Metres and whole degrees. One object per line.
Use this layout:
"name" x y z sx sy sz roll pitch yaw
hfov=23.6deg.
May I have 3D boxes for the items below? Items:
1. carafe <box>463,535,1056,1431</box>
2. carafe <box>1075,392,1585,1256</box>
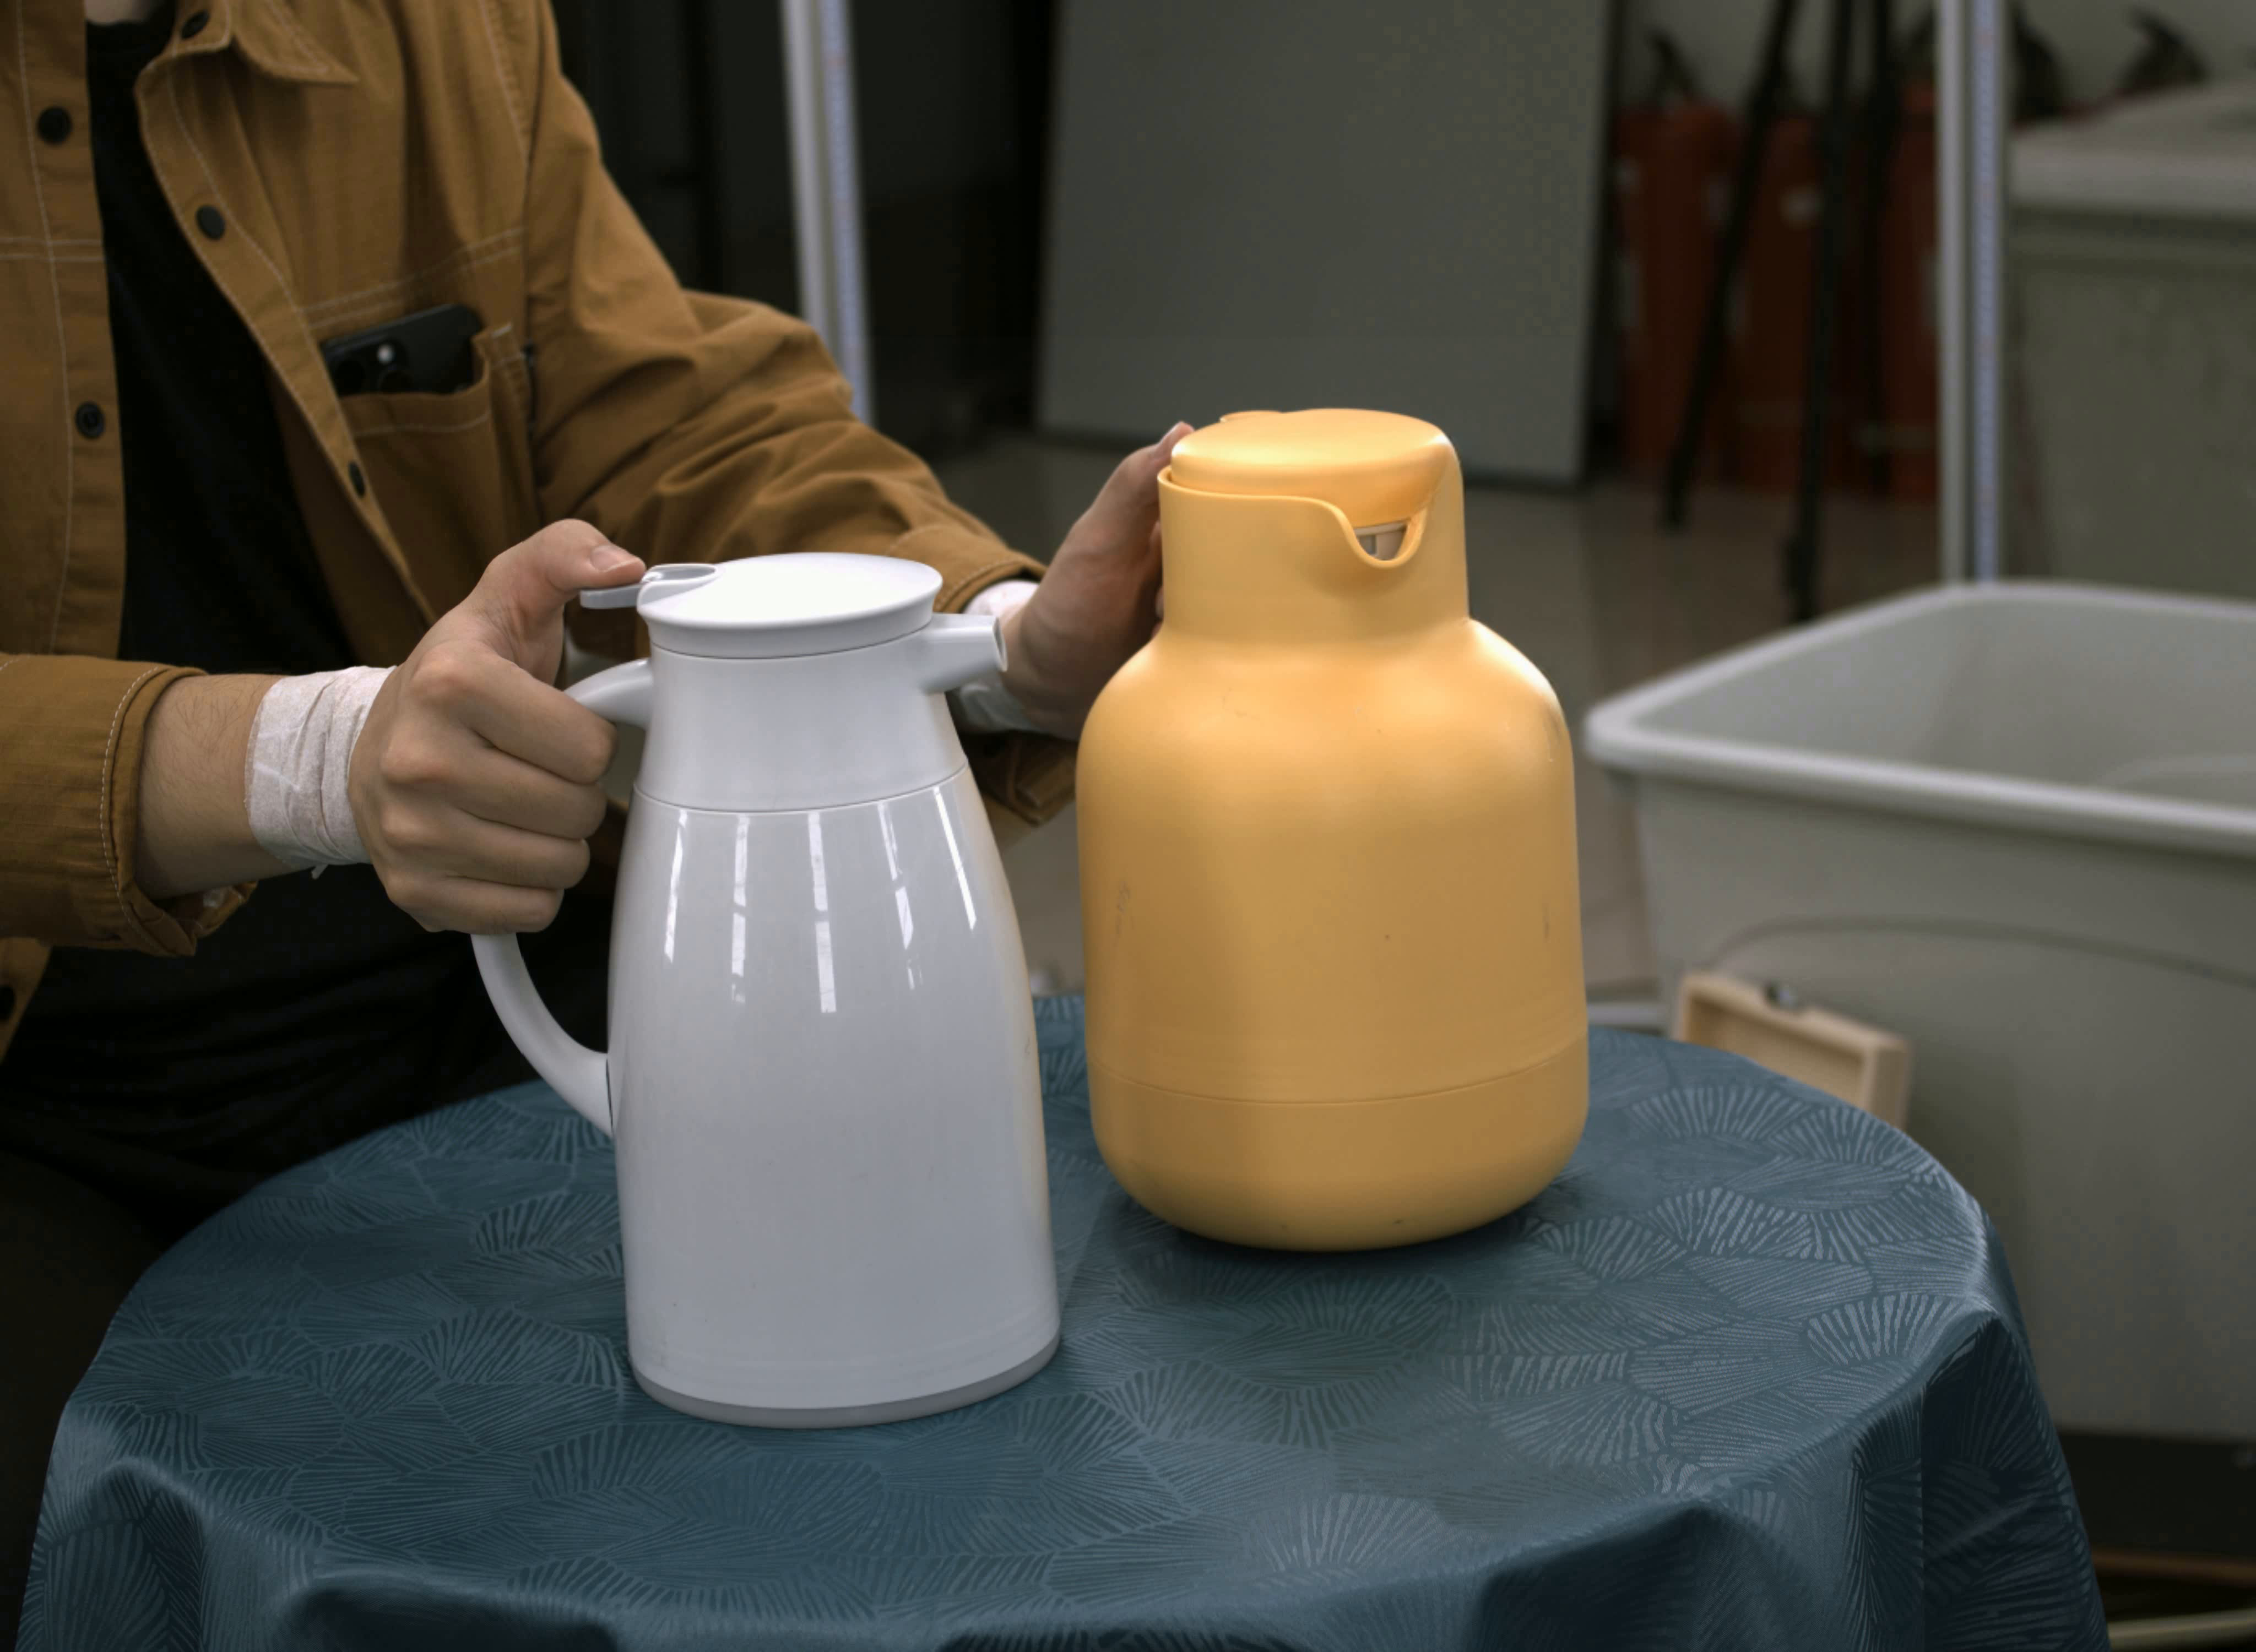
"carafe" -0.112 0.041 1.610 0.166 0.251 0.132 -3 13 4
"carafe" 0.059 -0.009 1.739 0.160 0.263 0.204 -5 15 -13
